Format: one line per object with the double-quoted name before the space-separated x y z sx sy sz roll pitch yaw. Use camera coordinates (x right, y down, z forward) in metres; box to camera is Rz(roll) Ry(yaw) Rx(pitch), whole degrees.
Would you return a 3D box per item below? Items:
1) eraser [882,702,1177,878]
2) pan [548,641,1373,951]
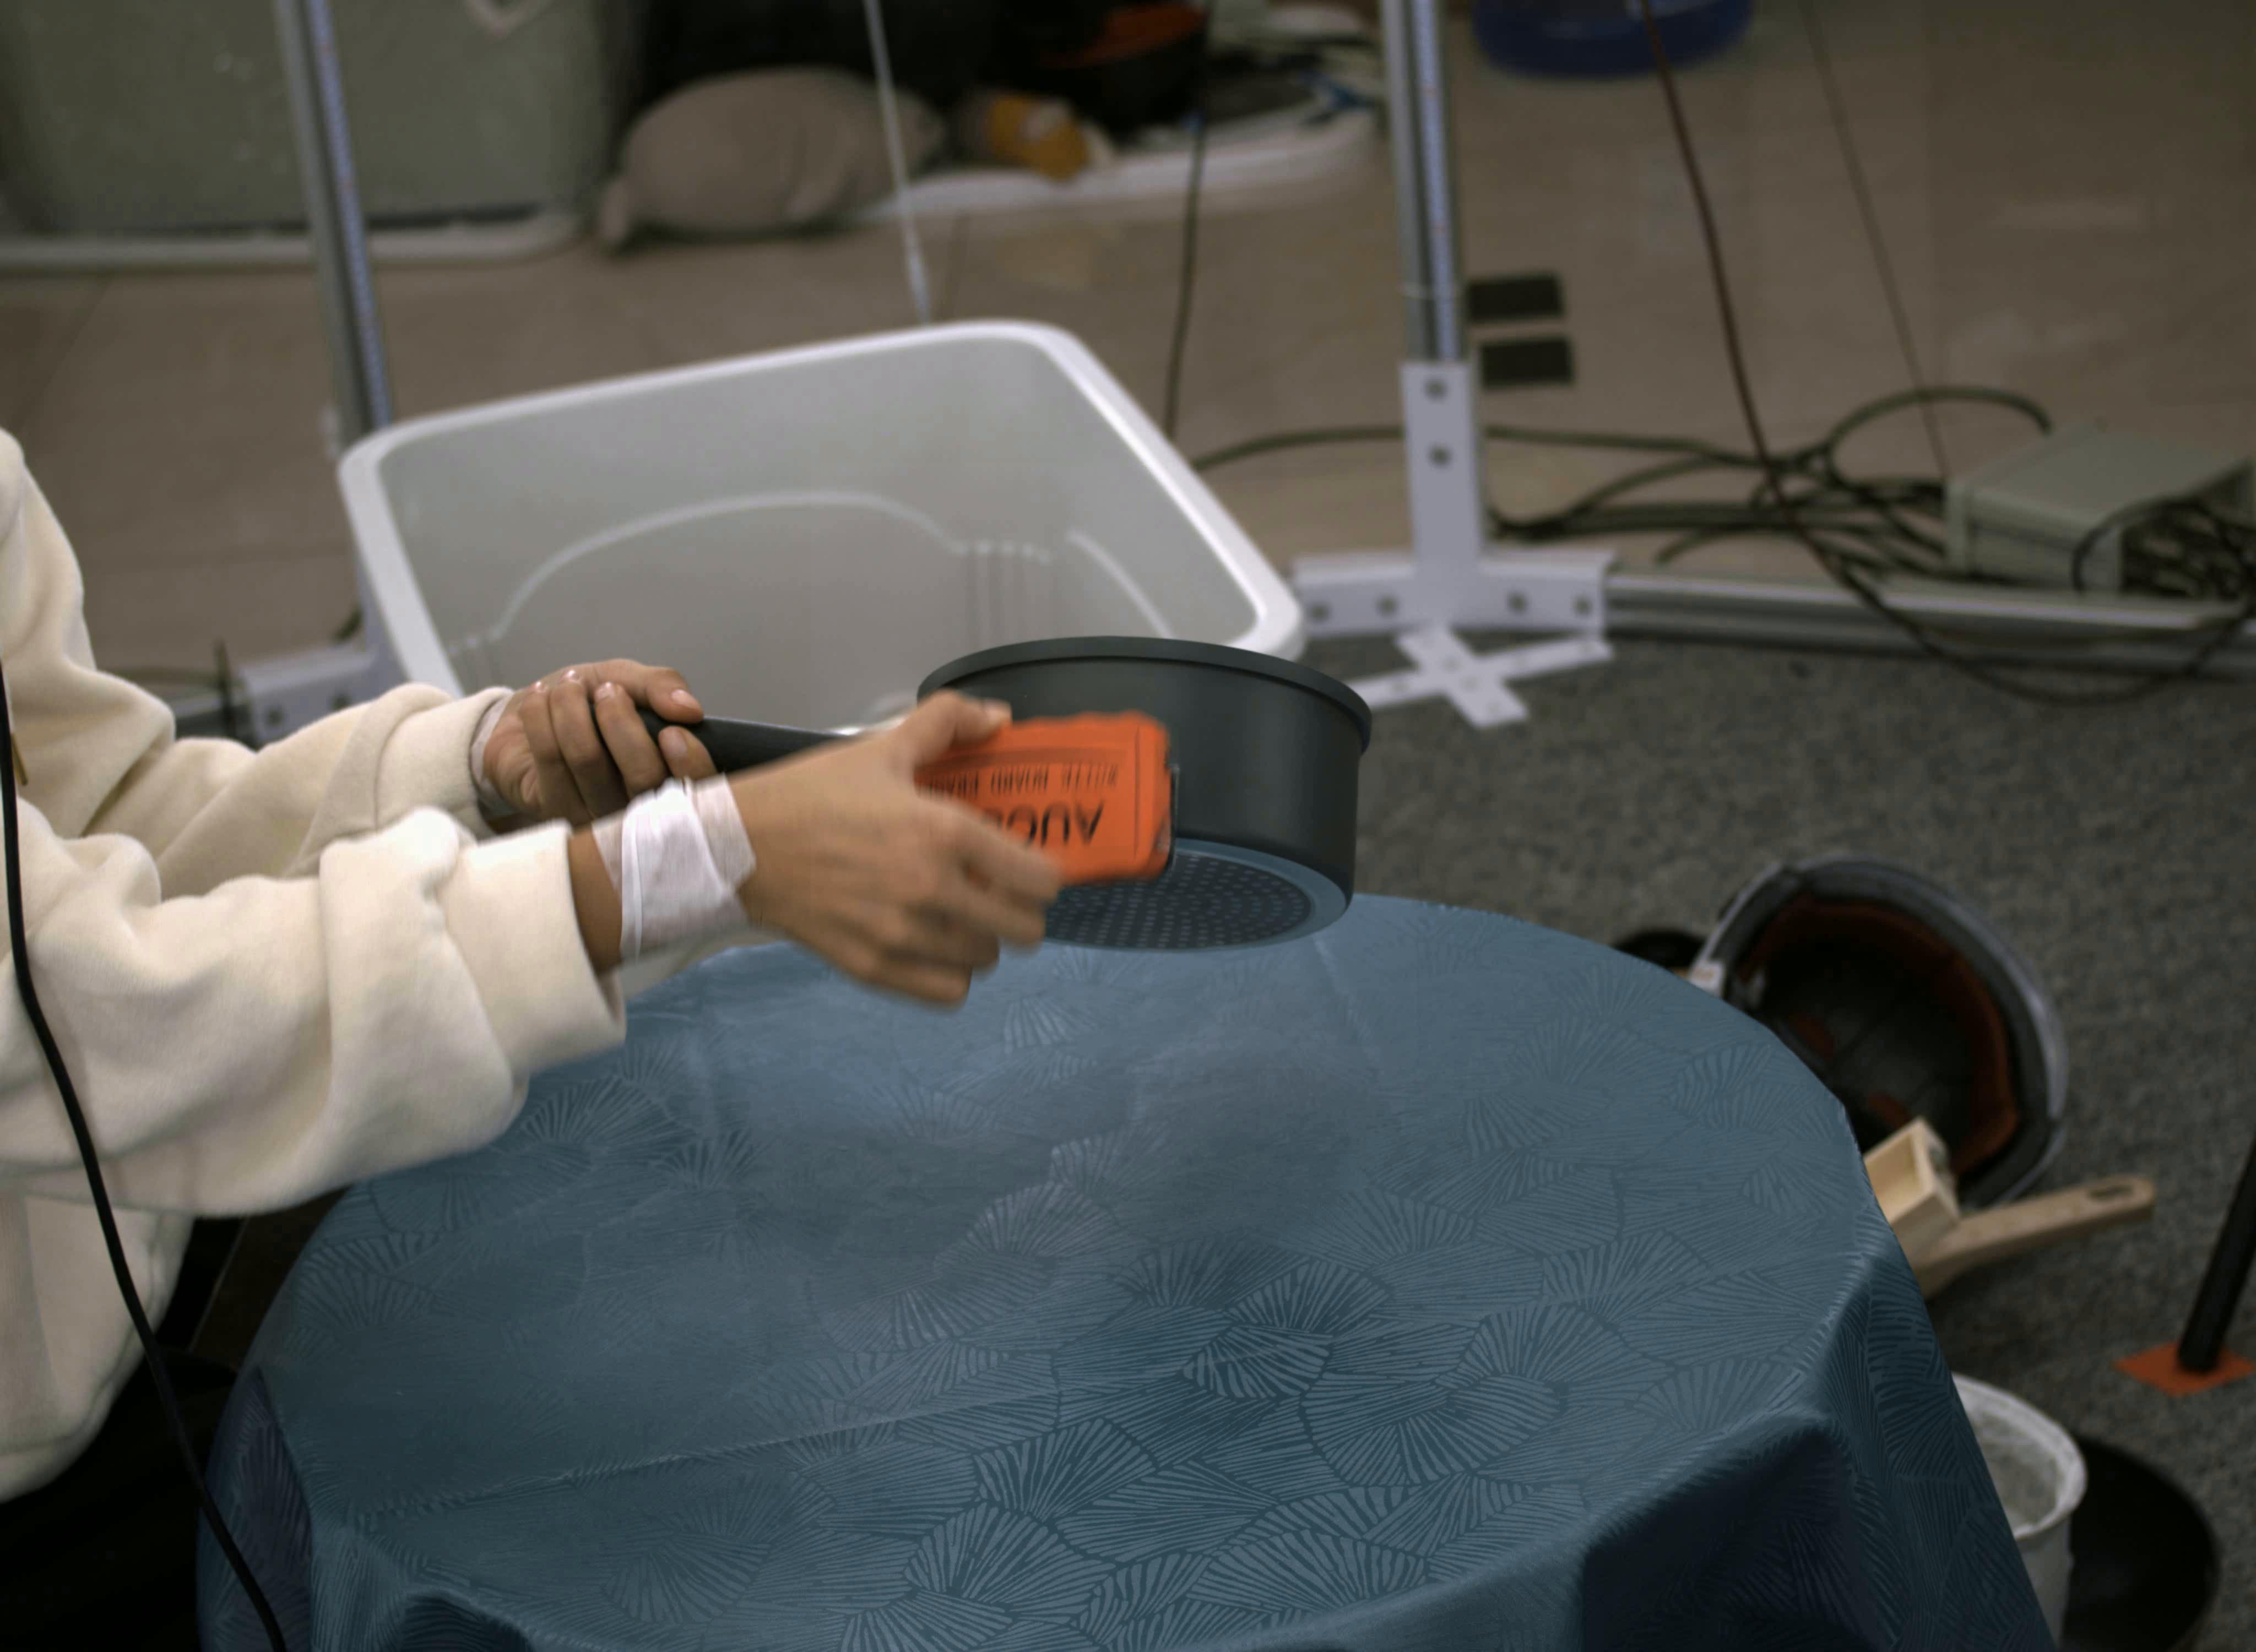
"eraser" -0.036 -0.013 2.029 0.108 0.059 0.023 -3 -9 23
"pan" -0.070 -0.008 2.143 0.328 0.086 0.174 -1 -17 19
